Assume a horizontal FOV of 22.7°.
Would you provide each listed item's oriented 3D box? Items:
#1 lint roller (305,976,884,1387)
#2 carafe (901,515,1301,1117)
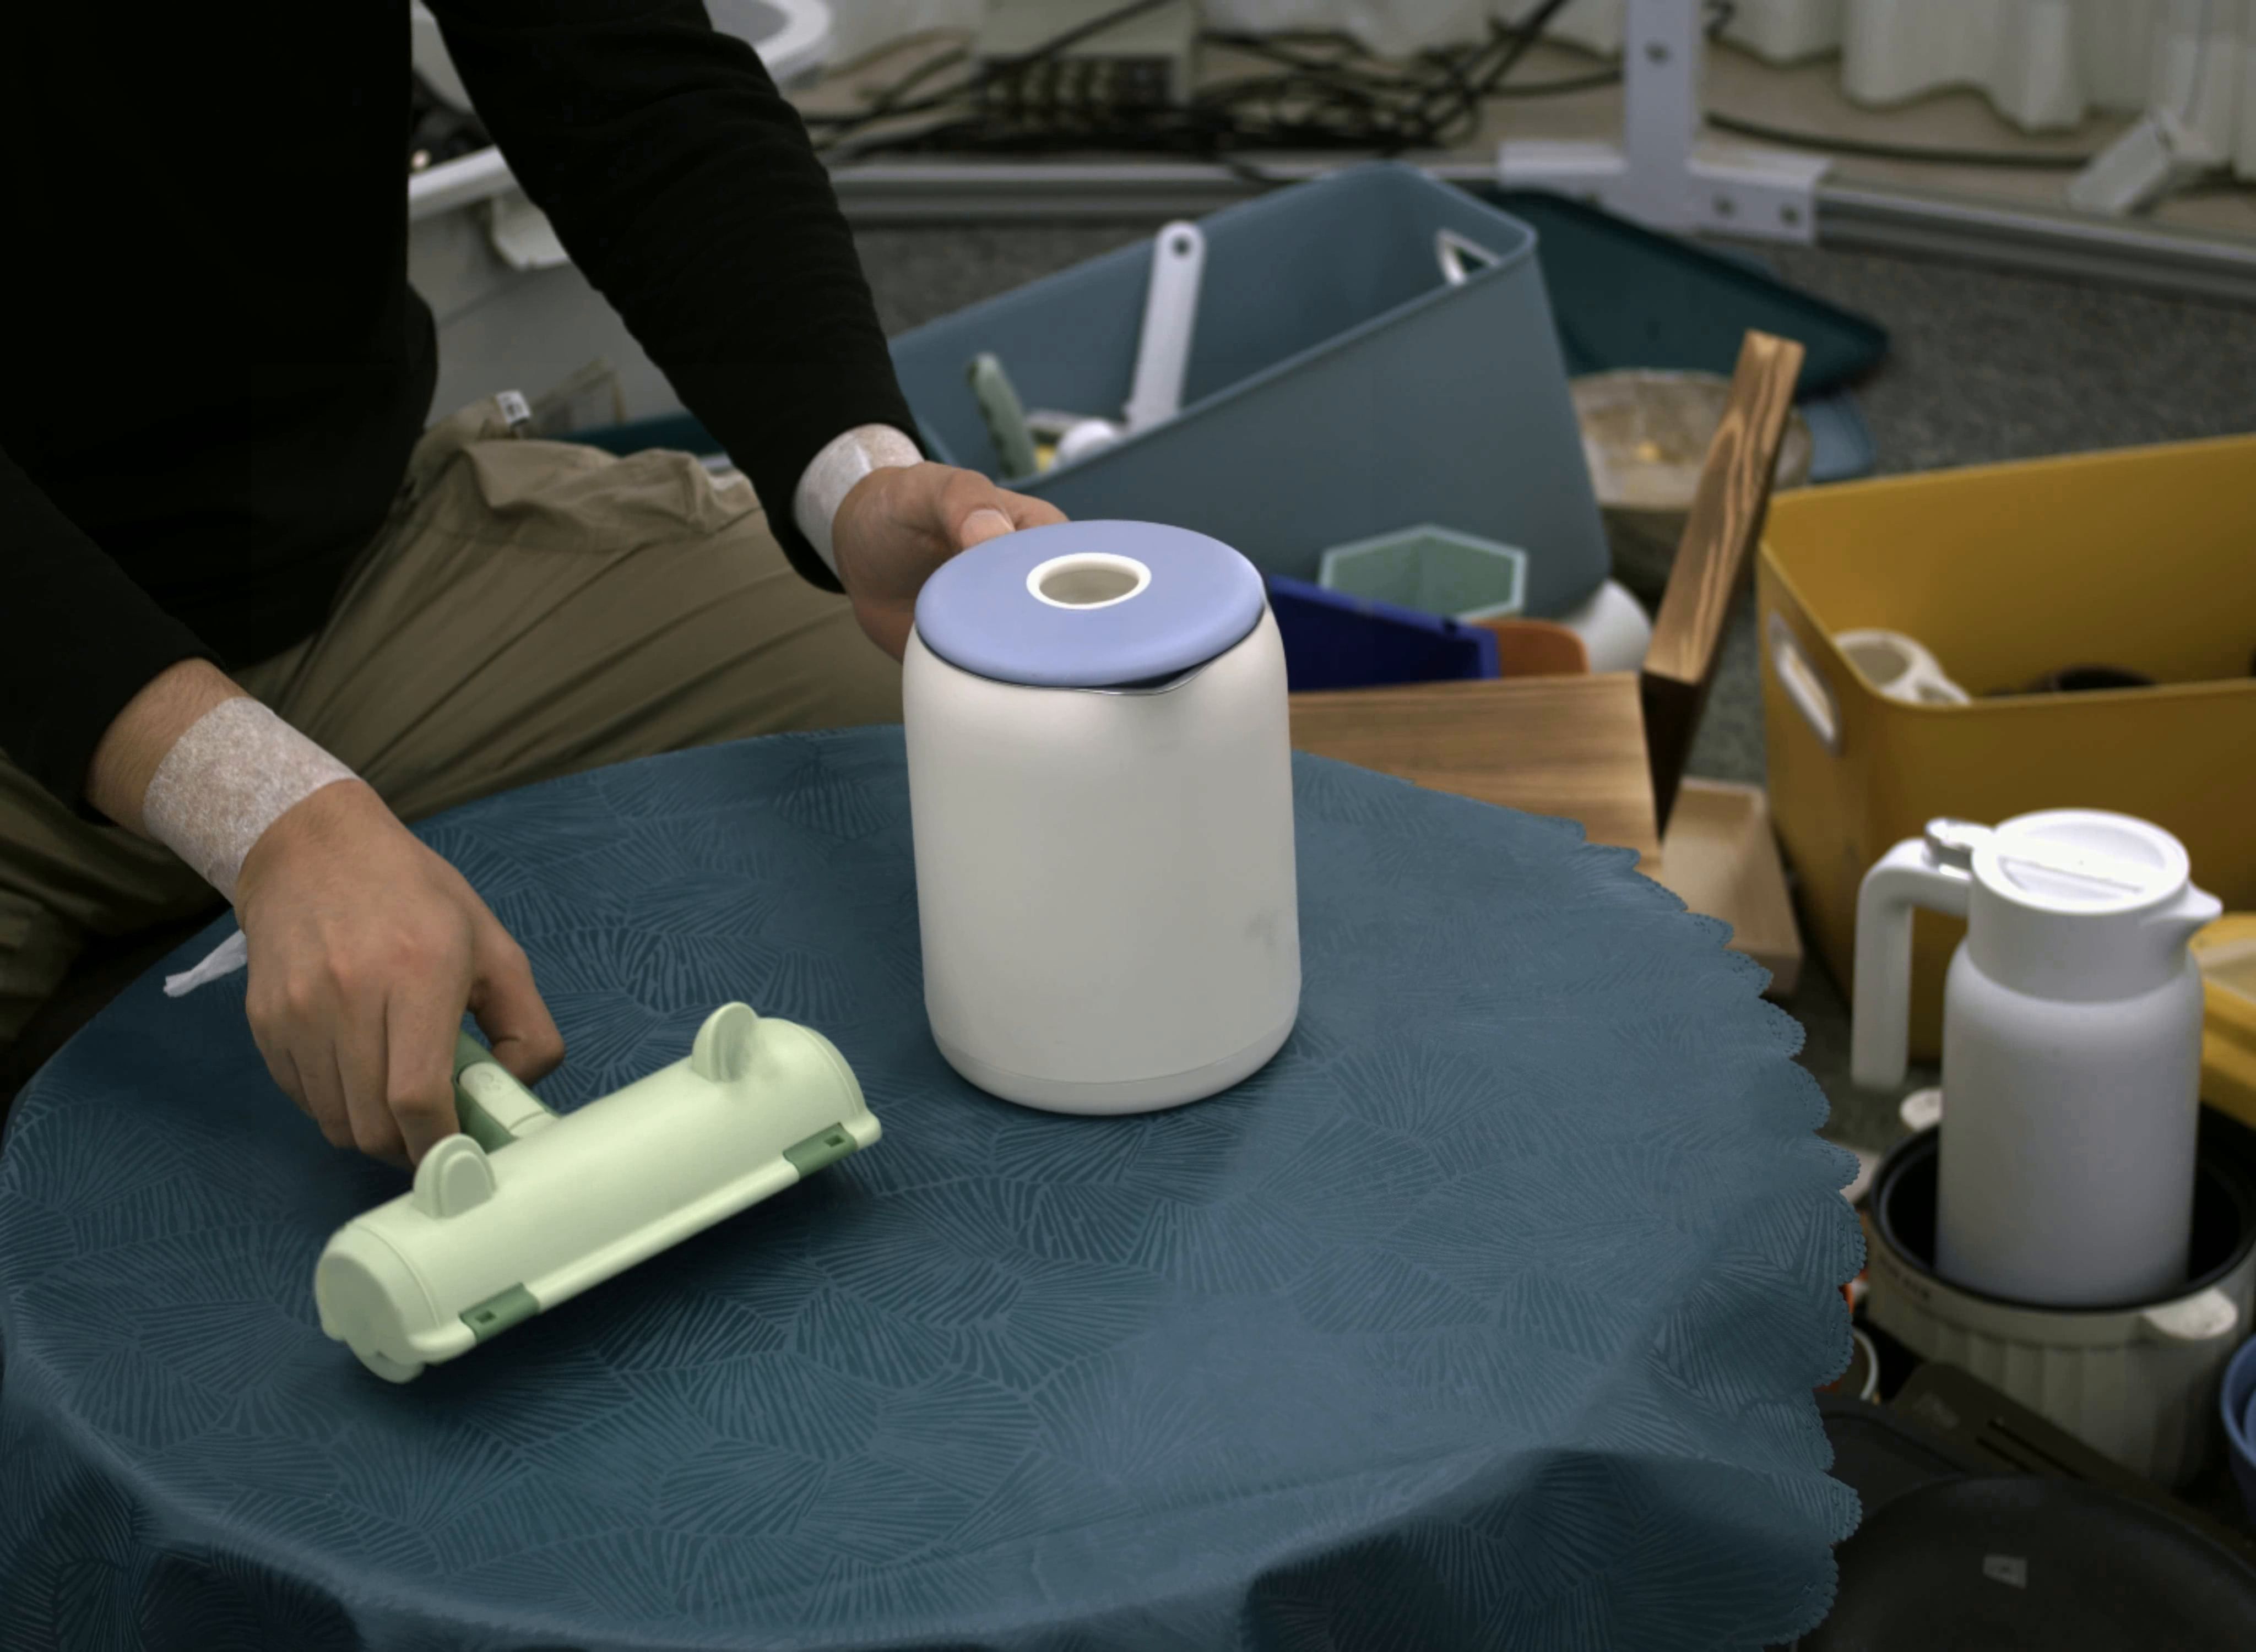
[{"bbox_3d":[-0.207,0.085,1.838,0.201,0.081,0.184,-25,53,-39],"label":"lint roller"},{"bbox_3d":[-0.018,-0.014,1.940,0.132,0.181,0.192,-12,26,-19],"label":"carafe"}]
